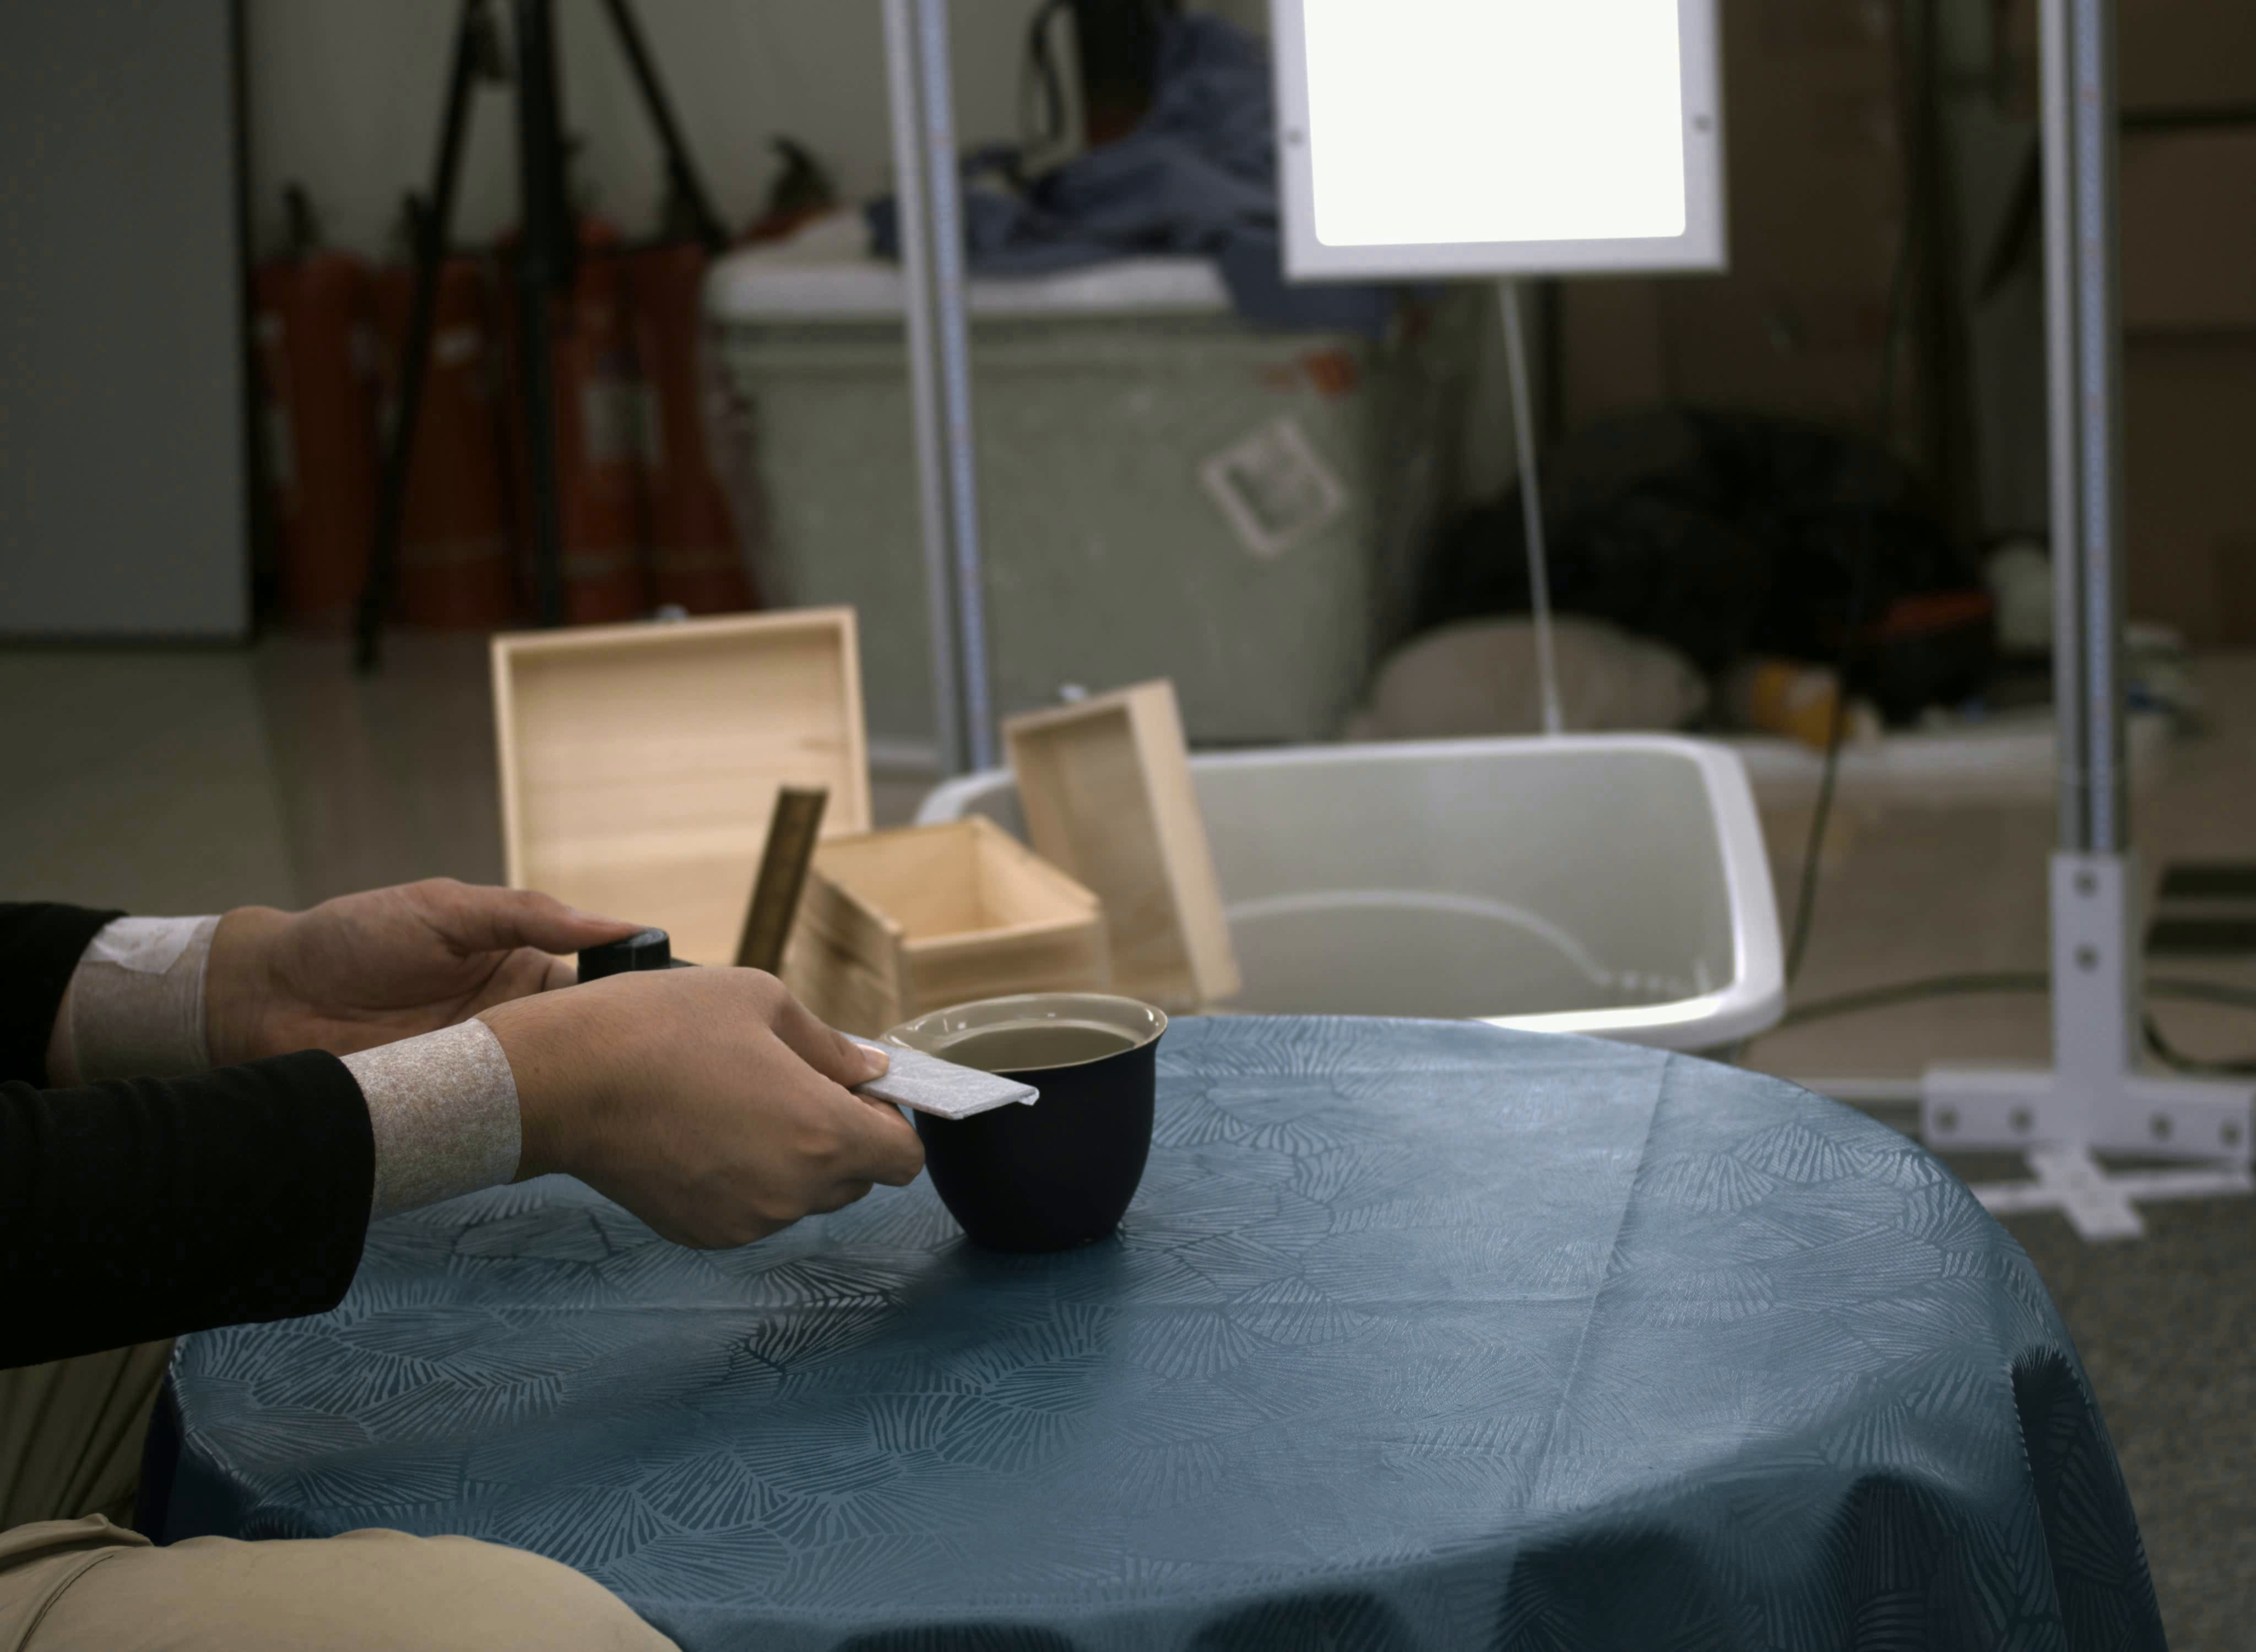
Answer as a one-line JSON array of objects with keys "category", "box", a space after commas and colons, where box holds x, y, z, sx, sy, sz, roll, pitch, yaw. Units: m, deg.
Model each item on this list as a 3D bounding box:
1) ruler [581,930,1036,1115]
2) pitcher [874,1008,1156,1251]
[{"category": "ruler", "box": [-0.114, 0.064, 1.845, 0.037, 0.024, 0.223, -22, 21, -35]}, {"category": "pitcher", "box": [-0.036, 0.102, 1.858, 0.096, 0.071, 0.083, -1, 15, 10]}]
